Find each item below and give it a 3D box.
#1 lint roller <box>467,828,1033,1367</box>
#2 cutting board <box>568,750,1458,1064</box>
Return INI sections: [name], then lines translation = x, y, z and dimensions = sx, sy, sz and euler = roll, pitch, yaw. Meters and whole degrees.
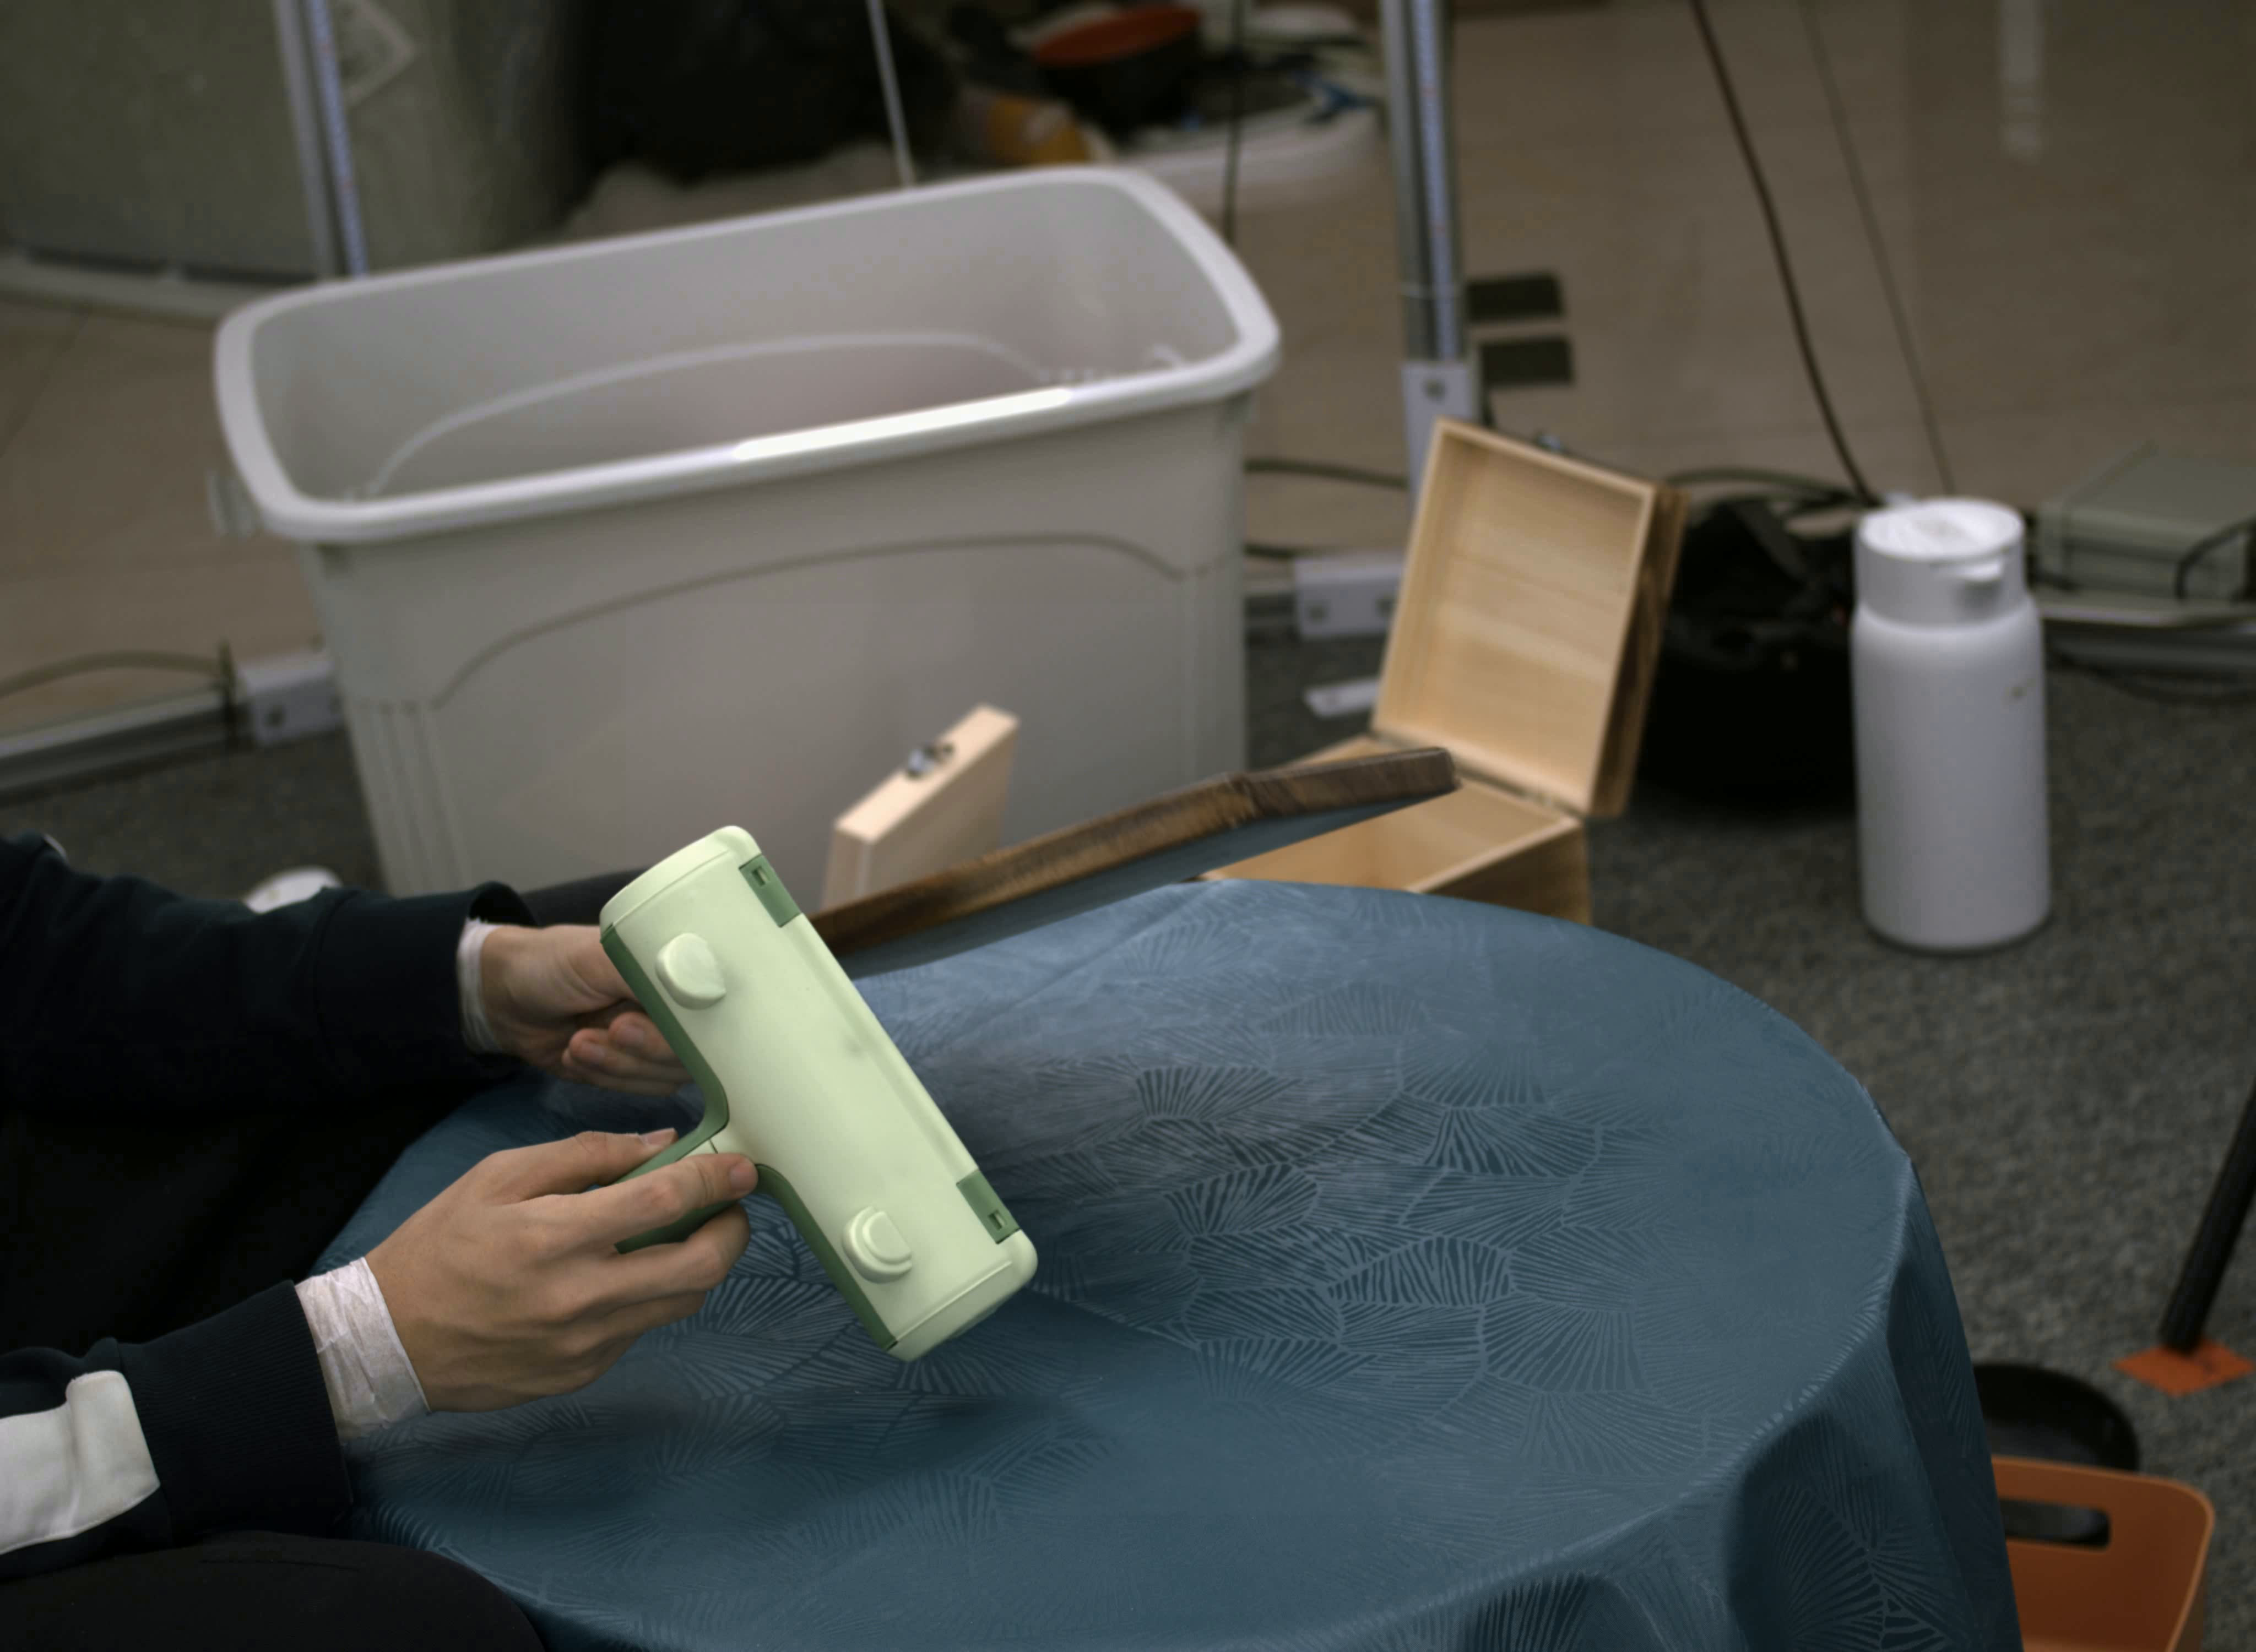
[lint roller]
translation = -0.159, 0.128, 1.992
dimensions = 0.183, 0.198, 0.082
euler = -34, -4, -1
[cutting board]
translation = -0.064, 0.034, 2.149
dimensions = 0.353, 0.023, 0.200
euler = -18, -4, 26
